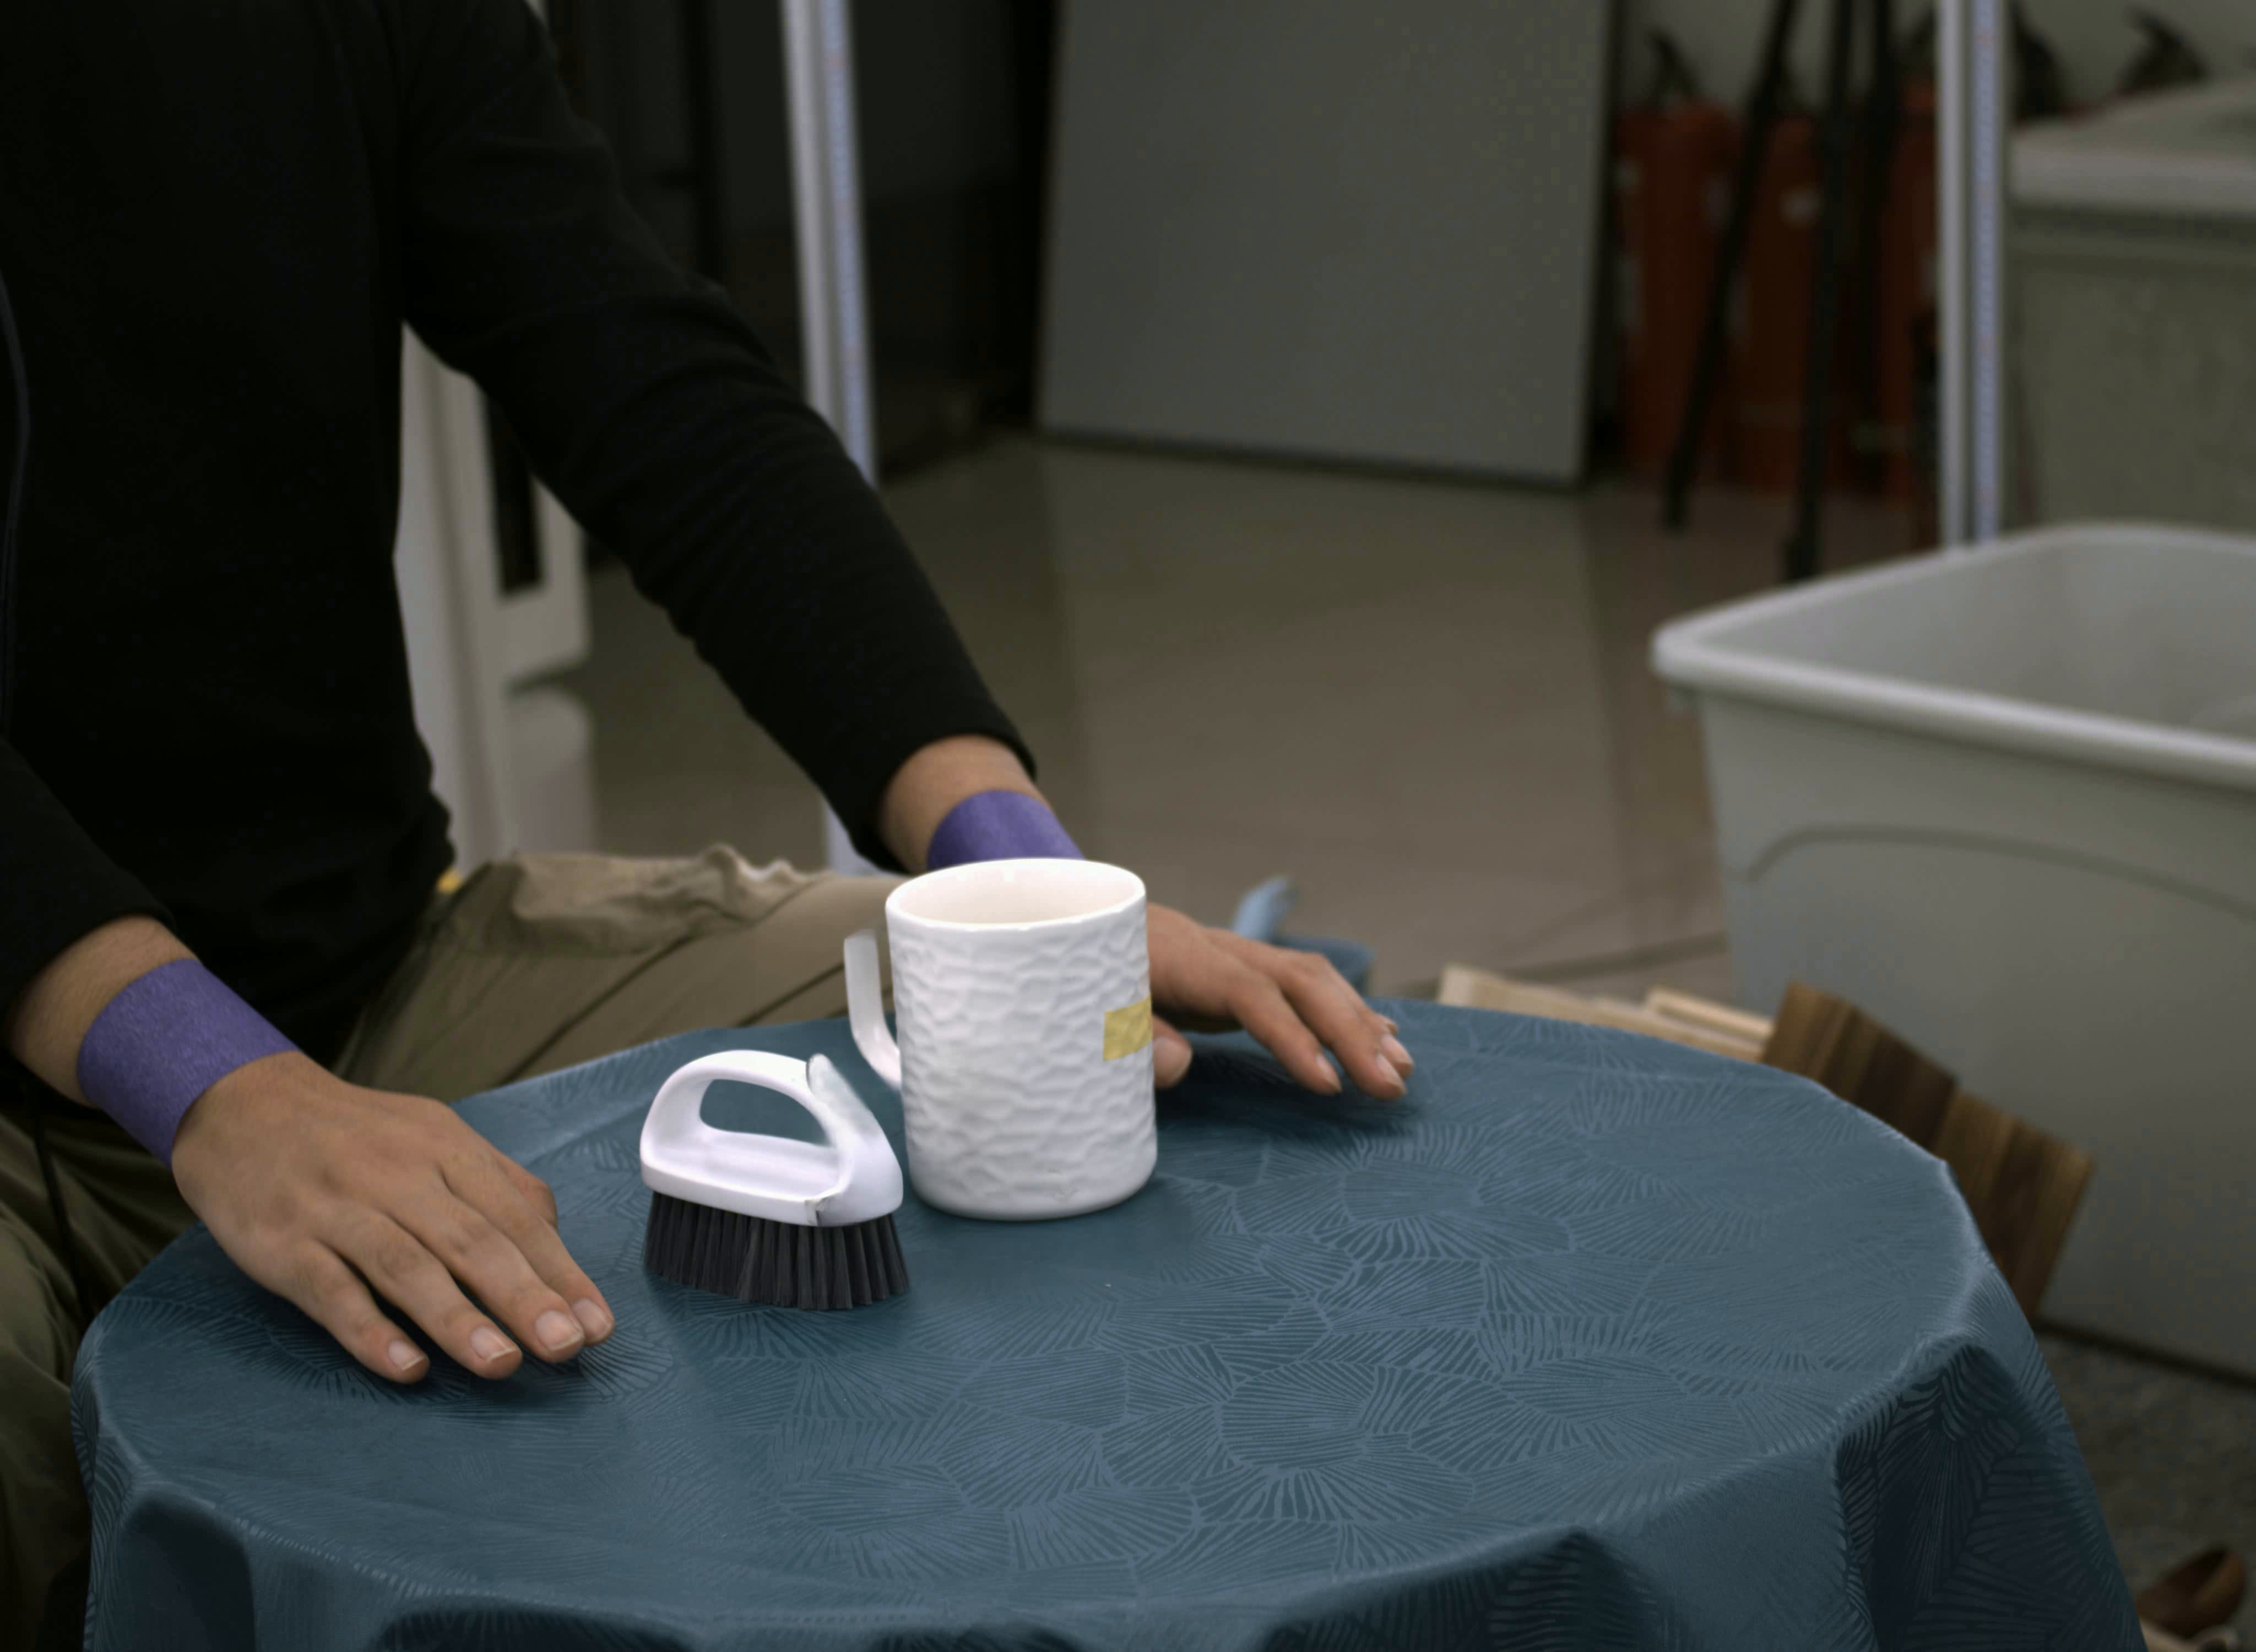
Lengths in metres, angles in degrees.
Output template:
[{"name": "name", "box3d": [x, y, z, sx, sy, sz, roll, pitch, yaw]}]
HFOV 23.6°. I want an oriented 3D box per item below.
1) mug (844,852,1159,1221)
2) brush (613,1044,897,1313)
[{"name": "mug", "box3d": [-0.046, 0.067, 1.780, 0.119, 0.103, 0.083, 7, 18, 39]}, {"name": "brush", "box3d": [-0.117, 0.107, 1.700, 0.100, 0.073, 0.049, 11, 14, 32]}]
